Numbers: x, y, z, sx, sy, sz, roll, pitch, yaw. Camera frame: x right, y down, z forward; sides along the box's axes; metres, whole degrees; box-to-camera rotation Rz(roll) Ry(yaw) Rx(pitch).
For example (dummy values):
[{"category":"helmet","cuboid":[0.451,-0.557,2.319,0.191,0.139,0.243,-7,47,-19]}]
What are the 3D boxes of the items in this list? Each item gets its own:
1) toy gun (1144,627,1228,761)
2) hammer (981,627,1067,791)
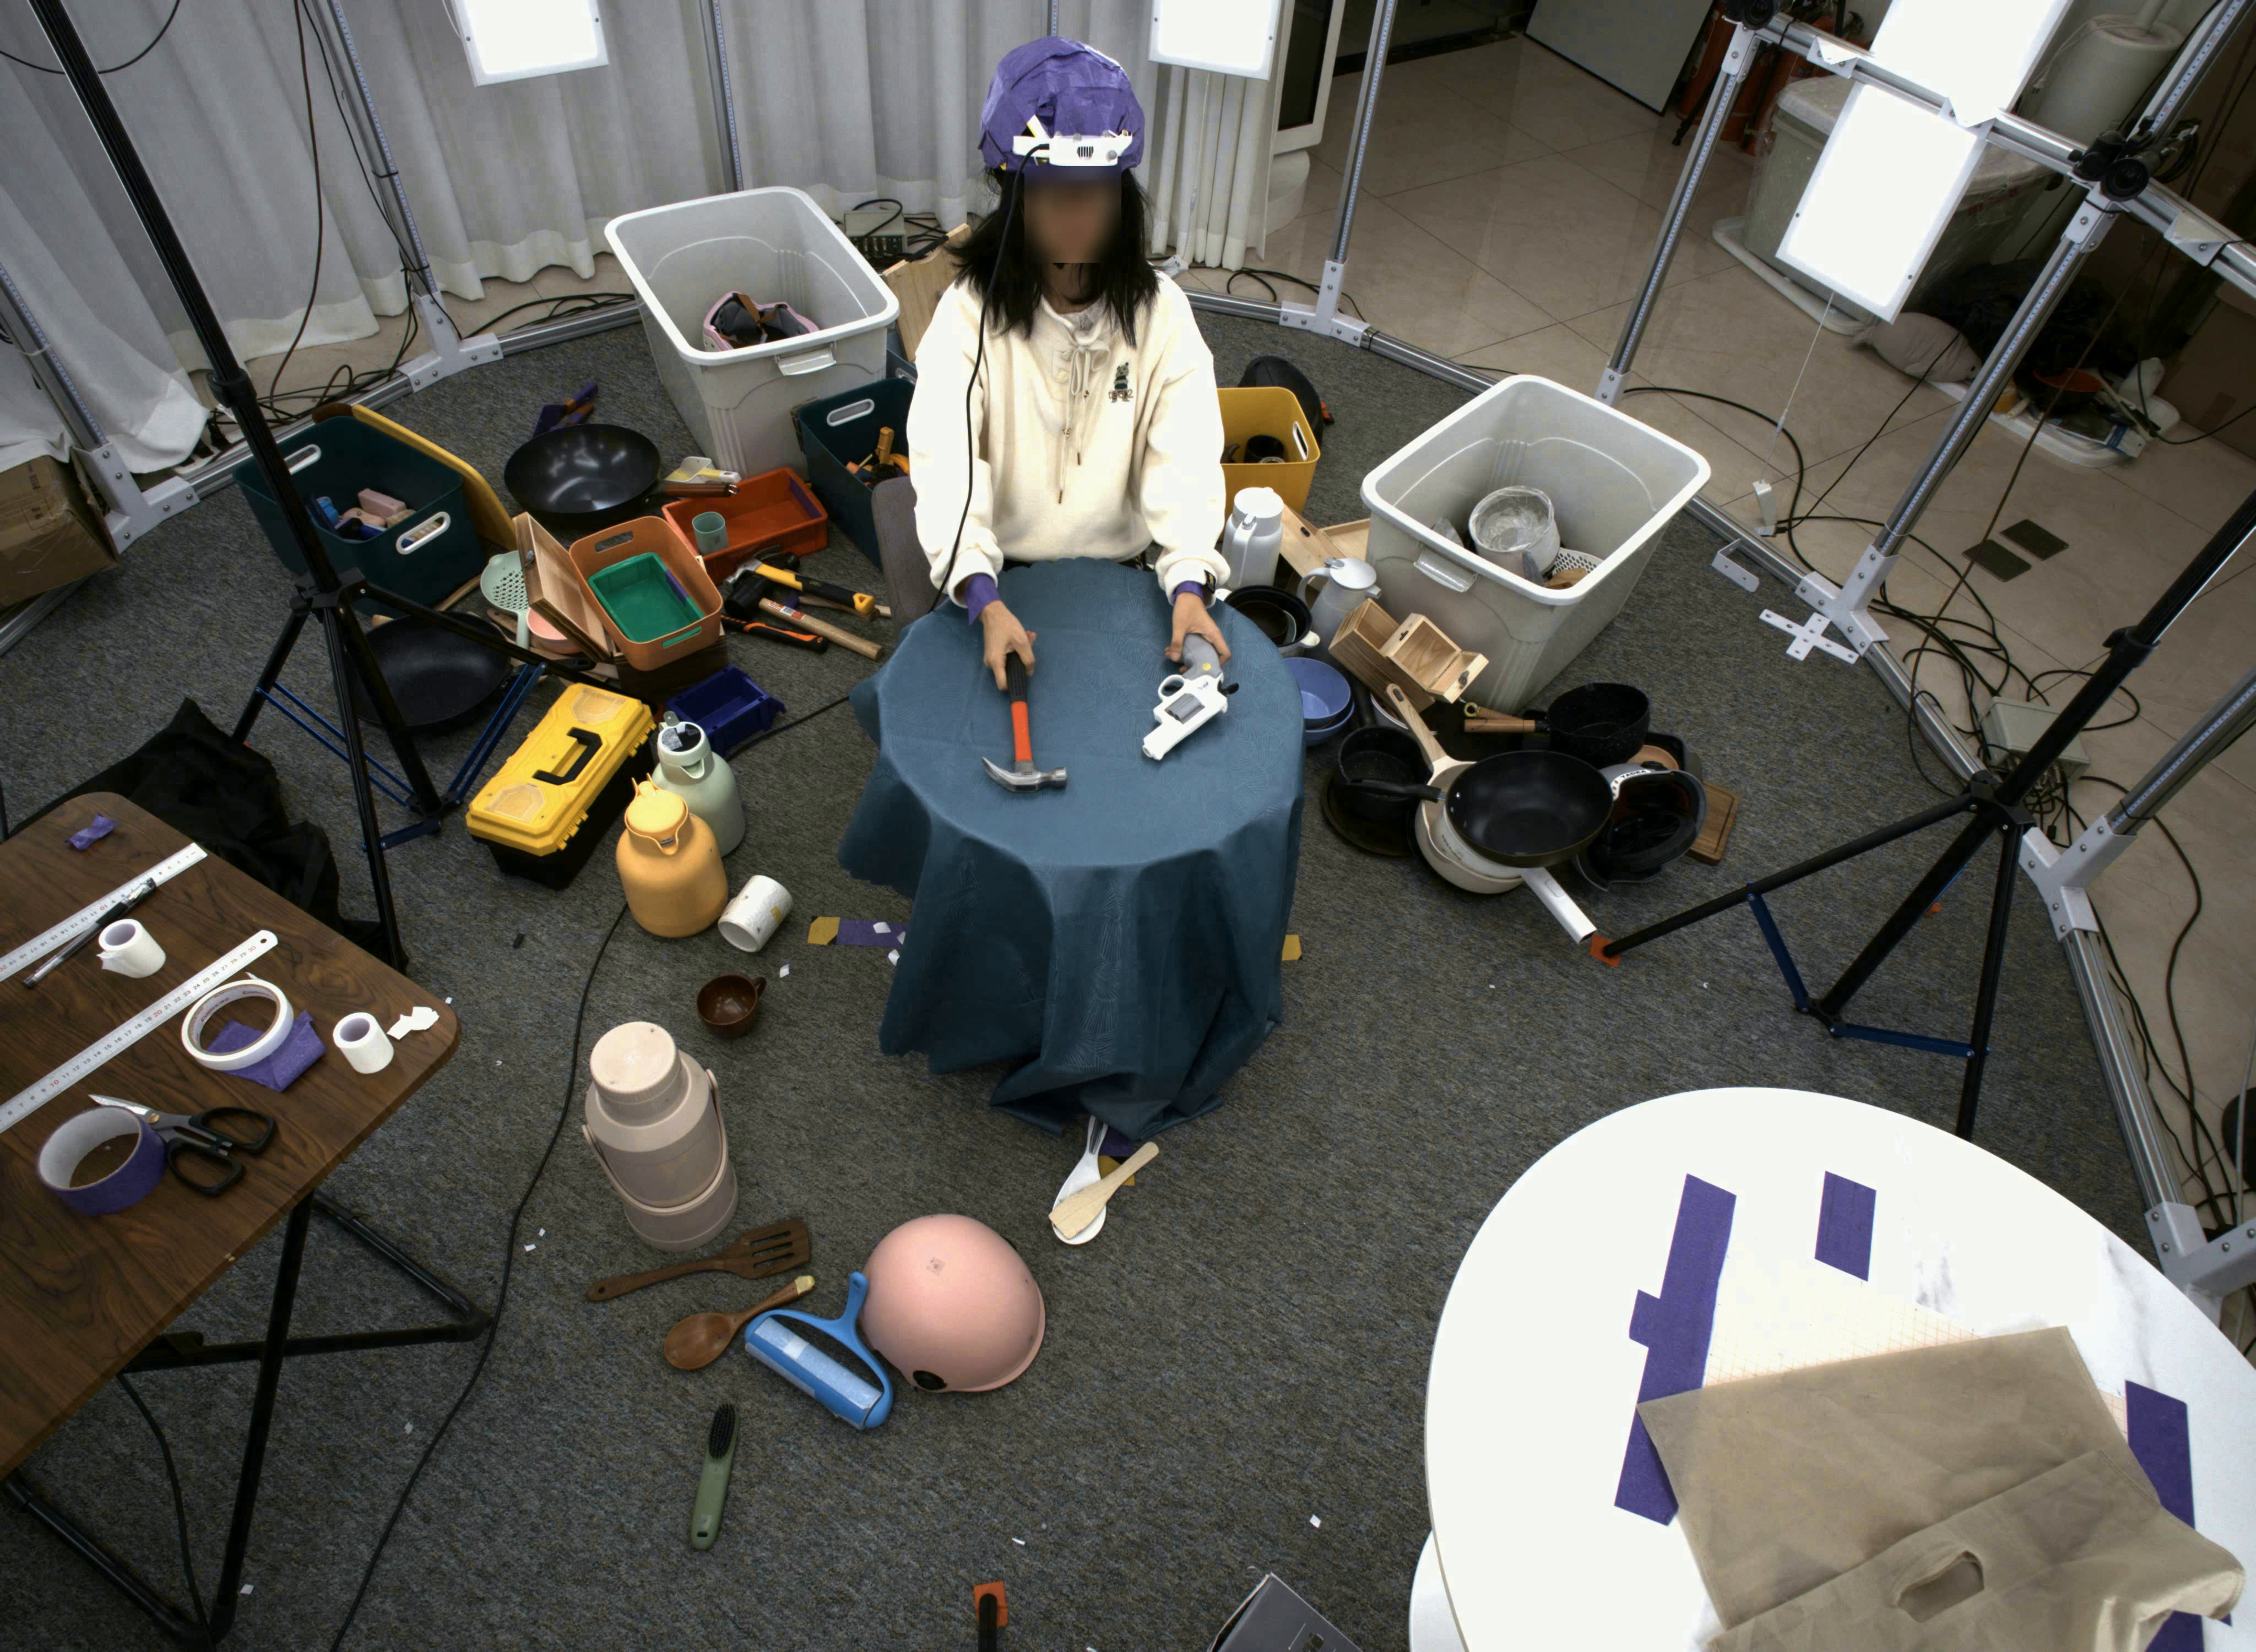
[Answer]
[{"category":"toy gun","cuboid":[0.069,-0.188,1.805,0.211,0.038,0.144,-41,57,-20]},{"category":"hammer","cuboid":[-0.152,-0.166,1.769,0.110,0.026,0.284,-9,55,1]}]
